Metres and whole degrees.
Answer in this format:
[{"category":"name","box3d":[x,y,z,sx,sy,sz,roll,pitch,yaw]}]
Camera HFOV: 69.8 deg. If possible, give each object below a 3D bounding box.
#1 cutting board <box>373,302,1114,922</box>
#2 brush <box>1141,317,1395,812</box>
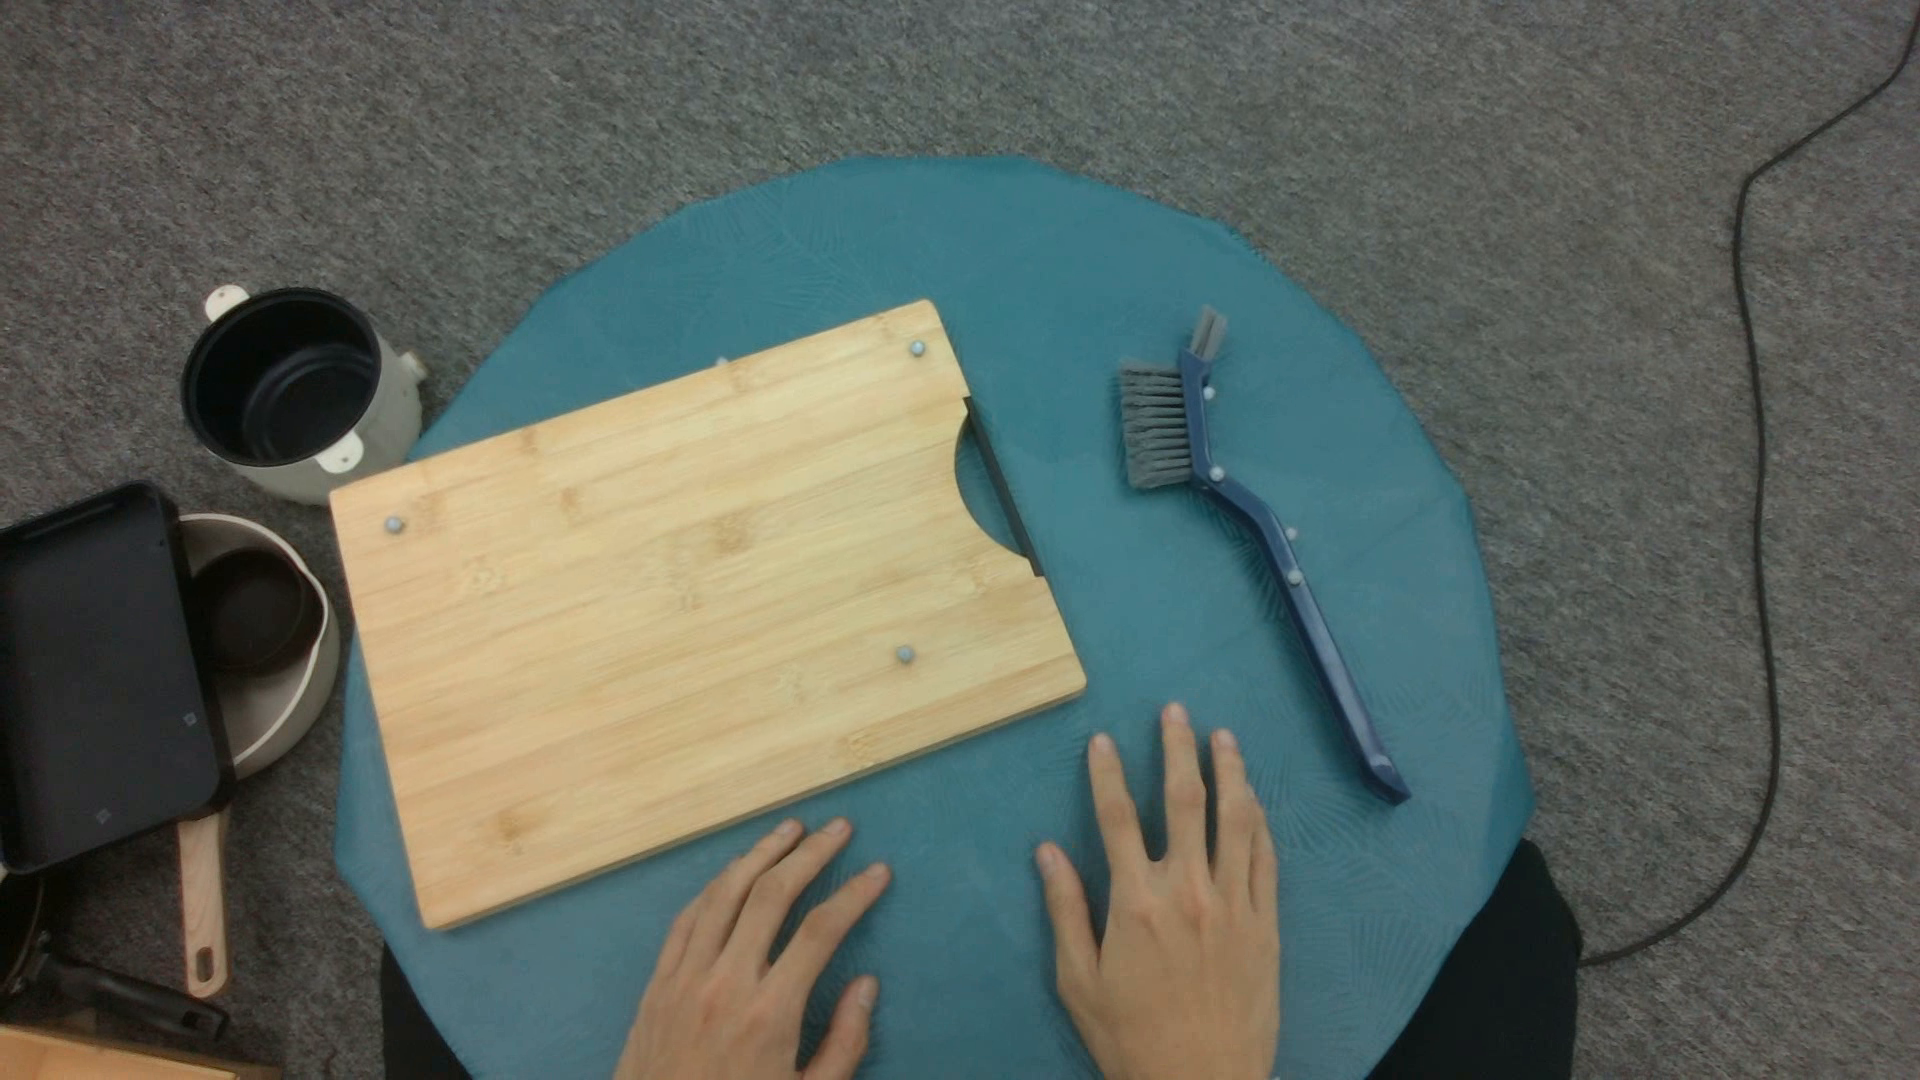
[{"category":"cutting board","box3d":[-0.124,0.028,0.737,0.349,0.023,0.251,-20,71,-6]},{"category":"brush","box3d":[0.175,0.007,0.729,0.096,0.033,0.273,-26,70,-8]}]
